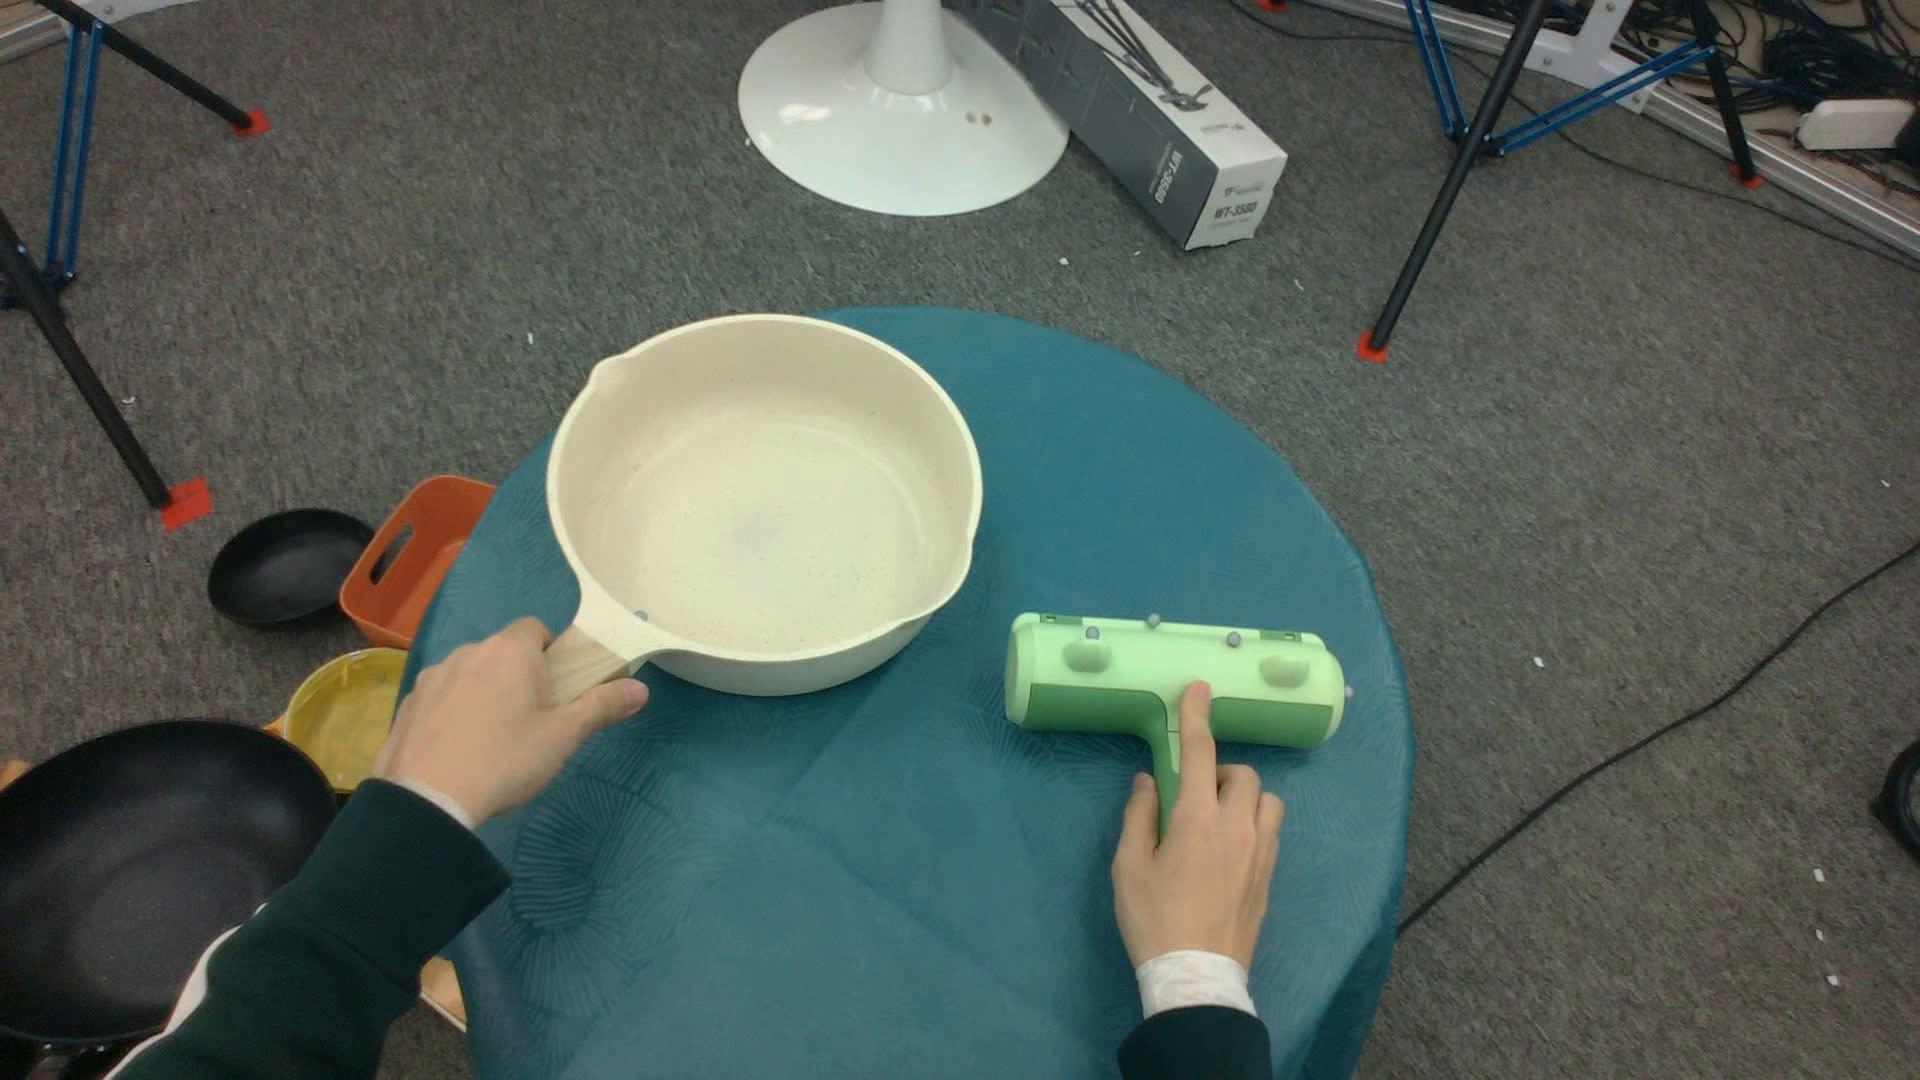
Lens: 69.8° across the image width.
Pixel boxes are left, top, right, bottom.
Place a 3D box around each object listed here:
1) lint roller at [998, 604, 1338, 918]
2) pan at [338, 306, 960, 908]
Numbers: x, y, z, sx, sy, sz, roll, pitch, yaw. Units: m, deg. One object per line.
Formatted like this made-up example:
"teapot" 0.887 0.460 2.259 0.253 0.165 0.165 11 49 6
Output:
"lint roller" 0.126 0.111 0.767 0.199 0.082 0.184 3 46 -8
"pan" -0.175 0.038 0.784 0.263 0.101 0.437 30 58 11
